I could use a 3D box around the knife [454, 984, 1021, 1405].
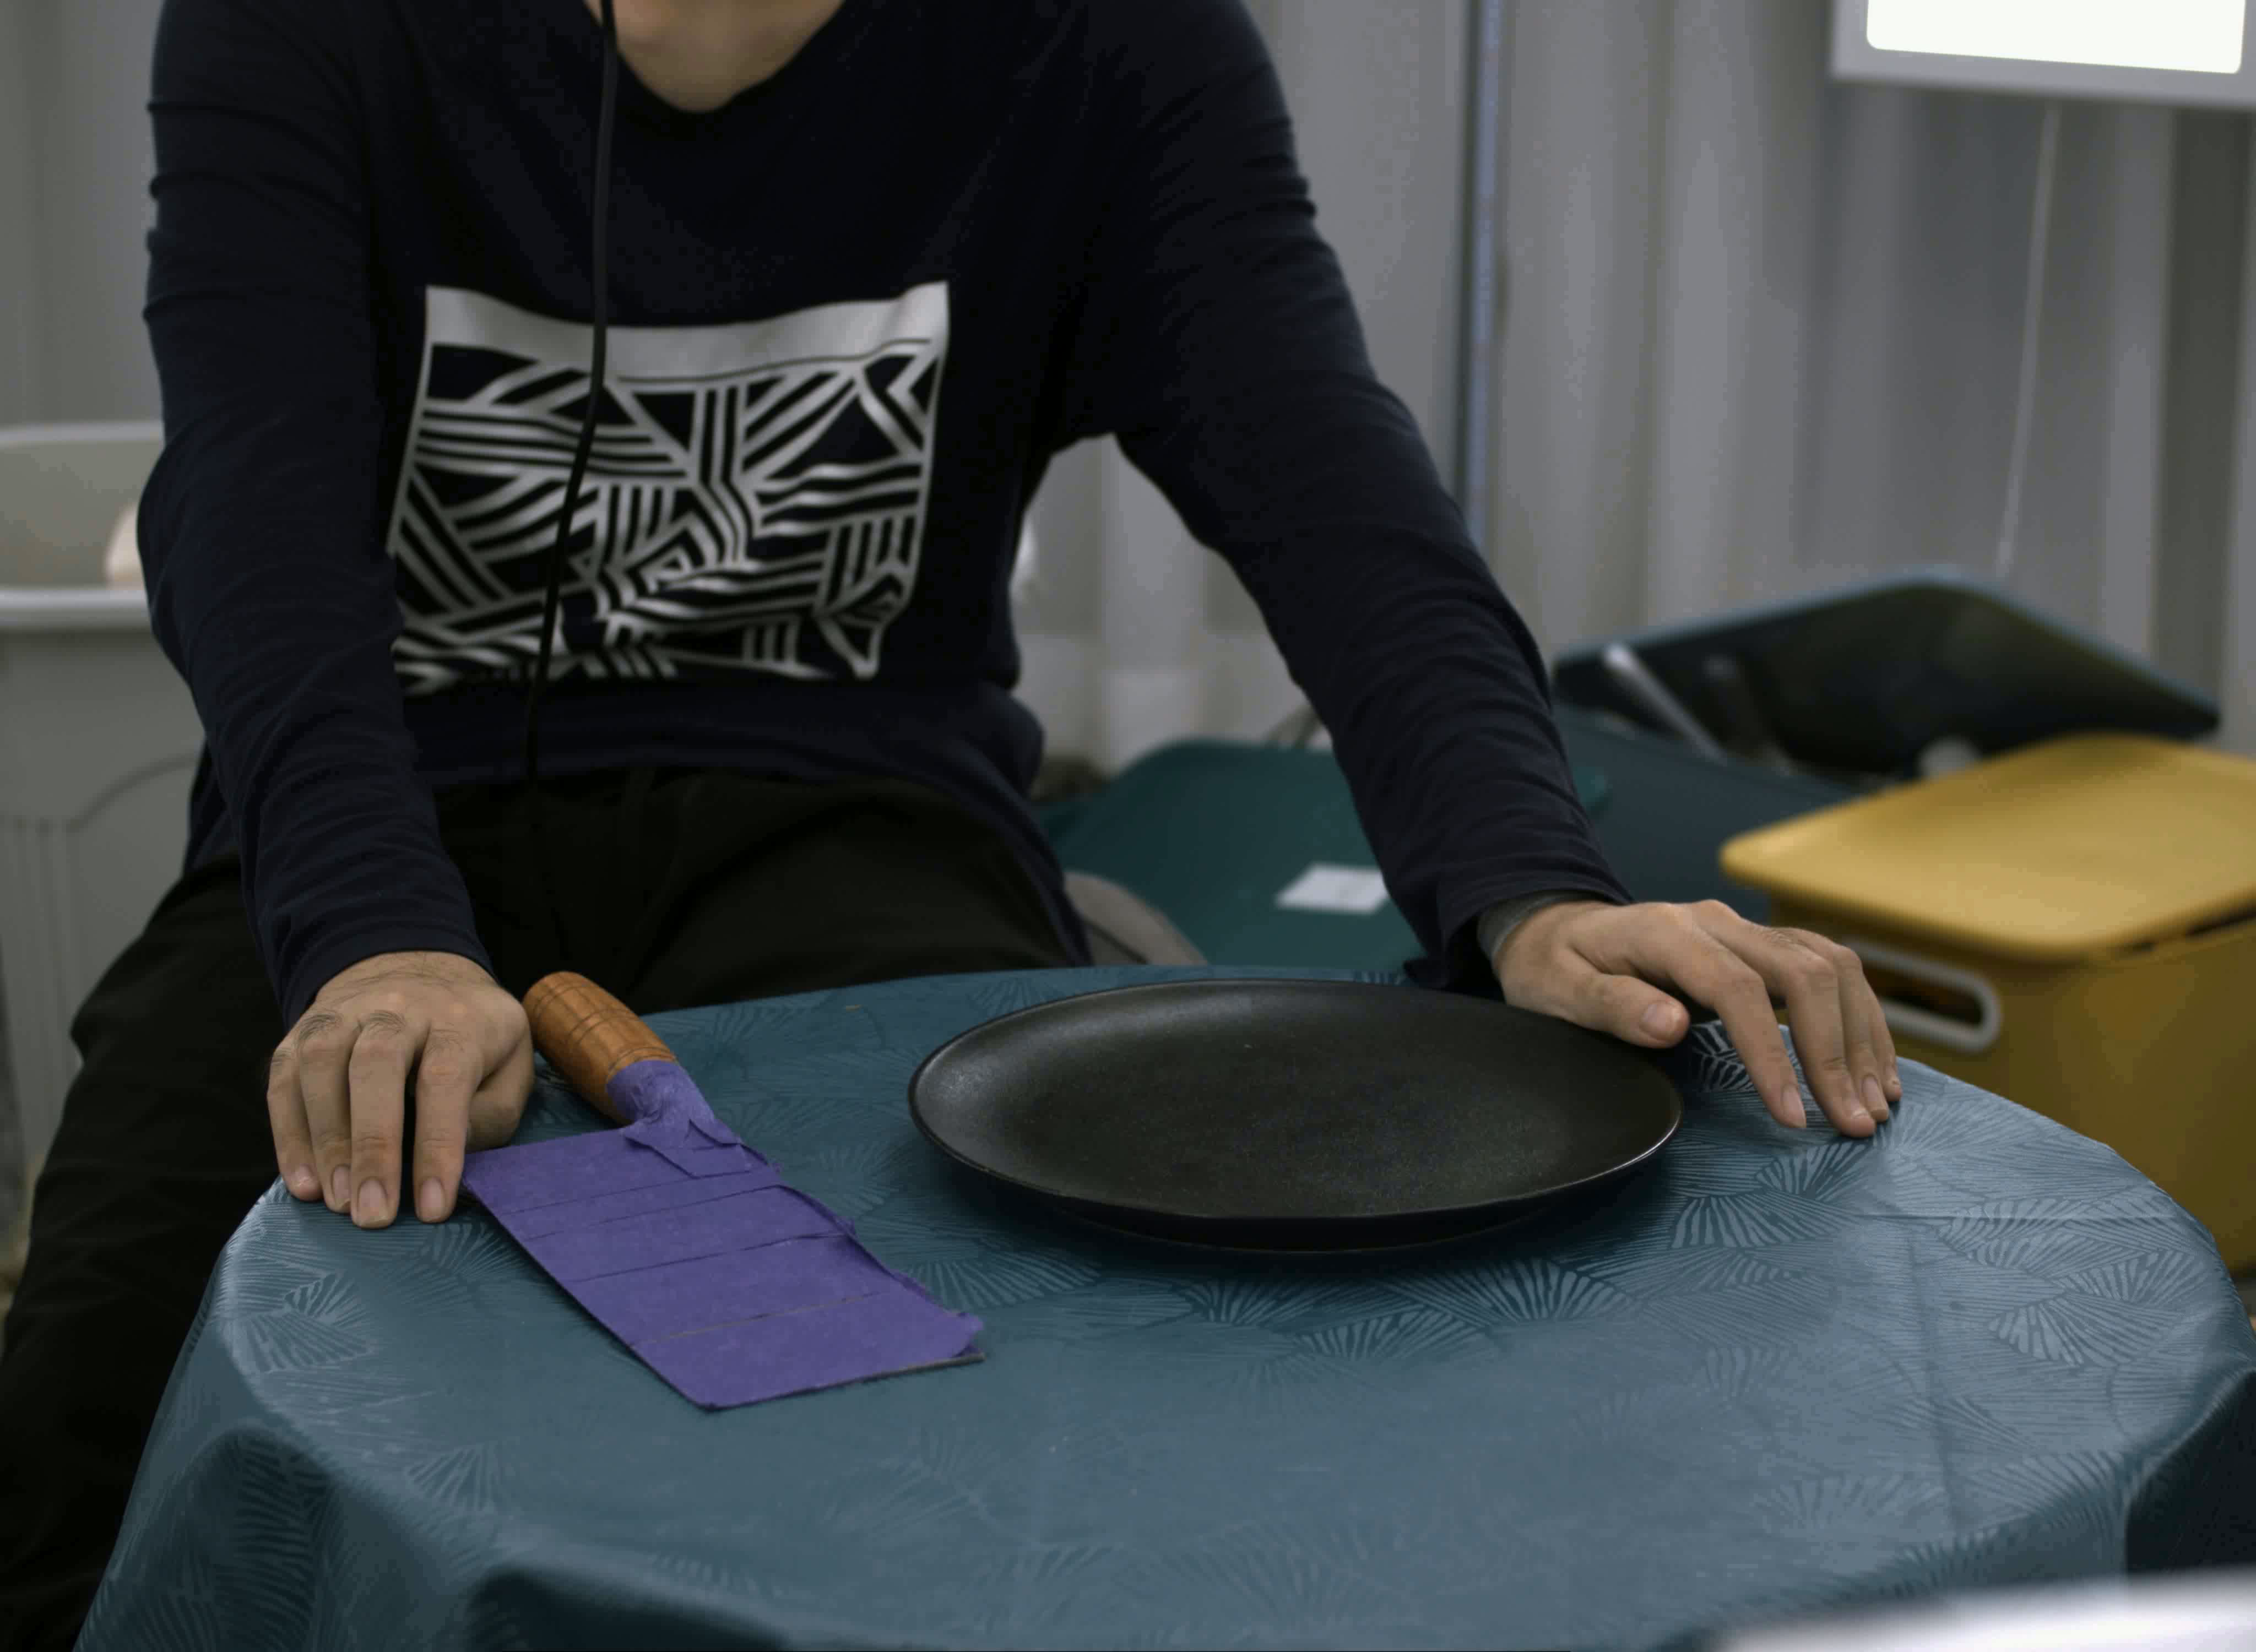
[{"bbox_3d":[-0.146,0.107,1.589,0.104,0.032,0.311,-7,18,-27],"label":"knife"}]

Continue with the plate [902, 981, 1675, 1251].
[{"bbox_3d":[0.050,0.093,1.656,0.243,0.023,0.243,1,15,0],"label":"plate"}]
